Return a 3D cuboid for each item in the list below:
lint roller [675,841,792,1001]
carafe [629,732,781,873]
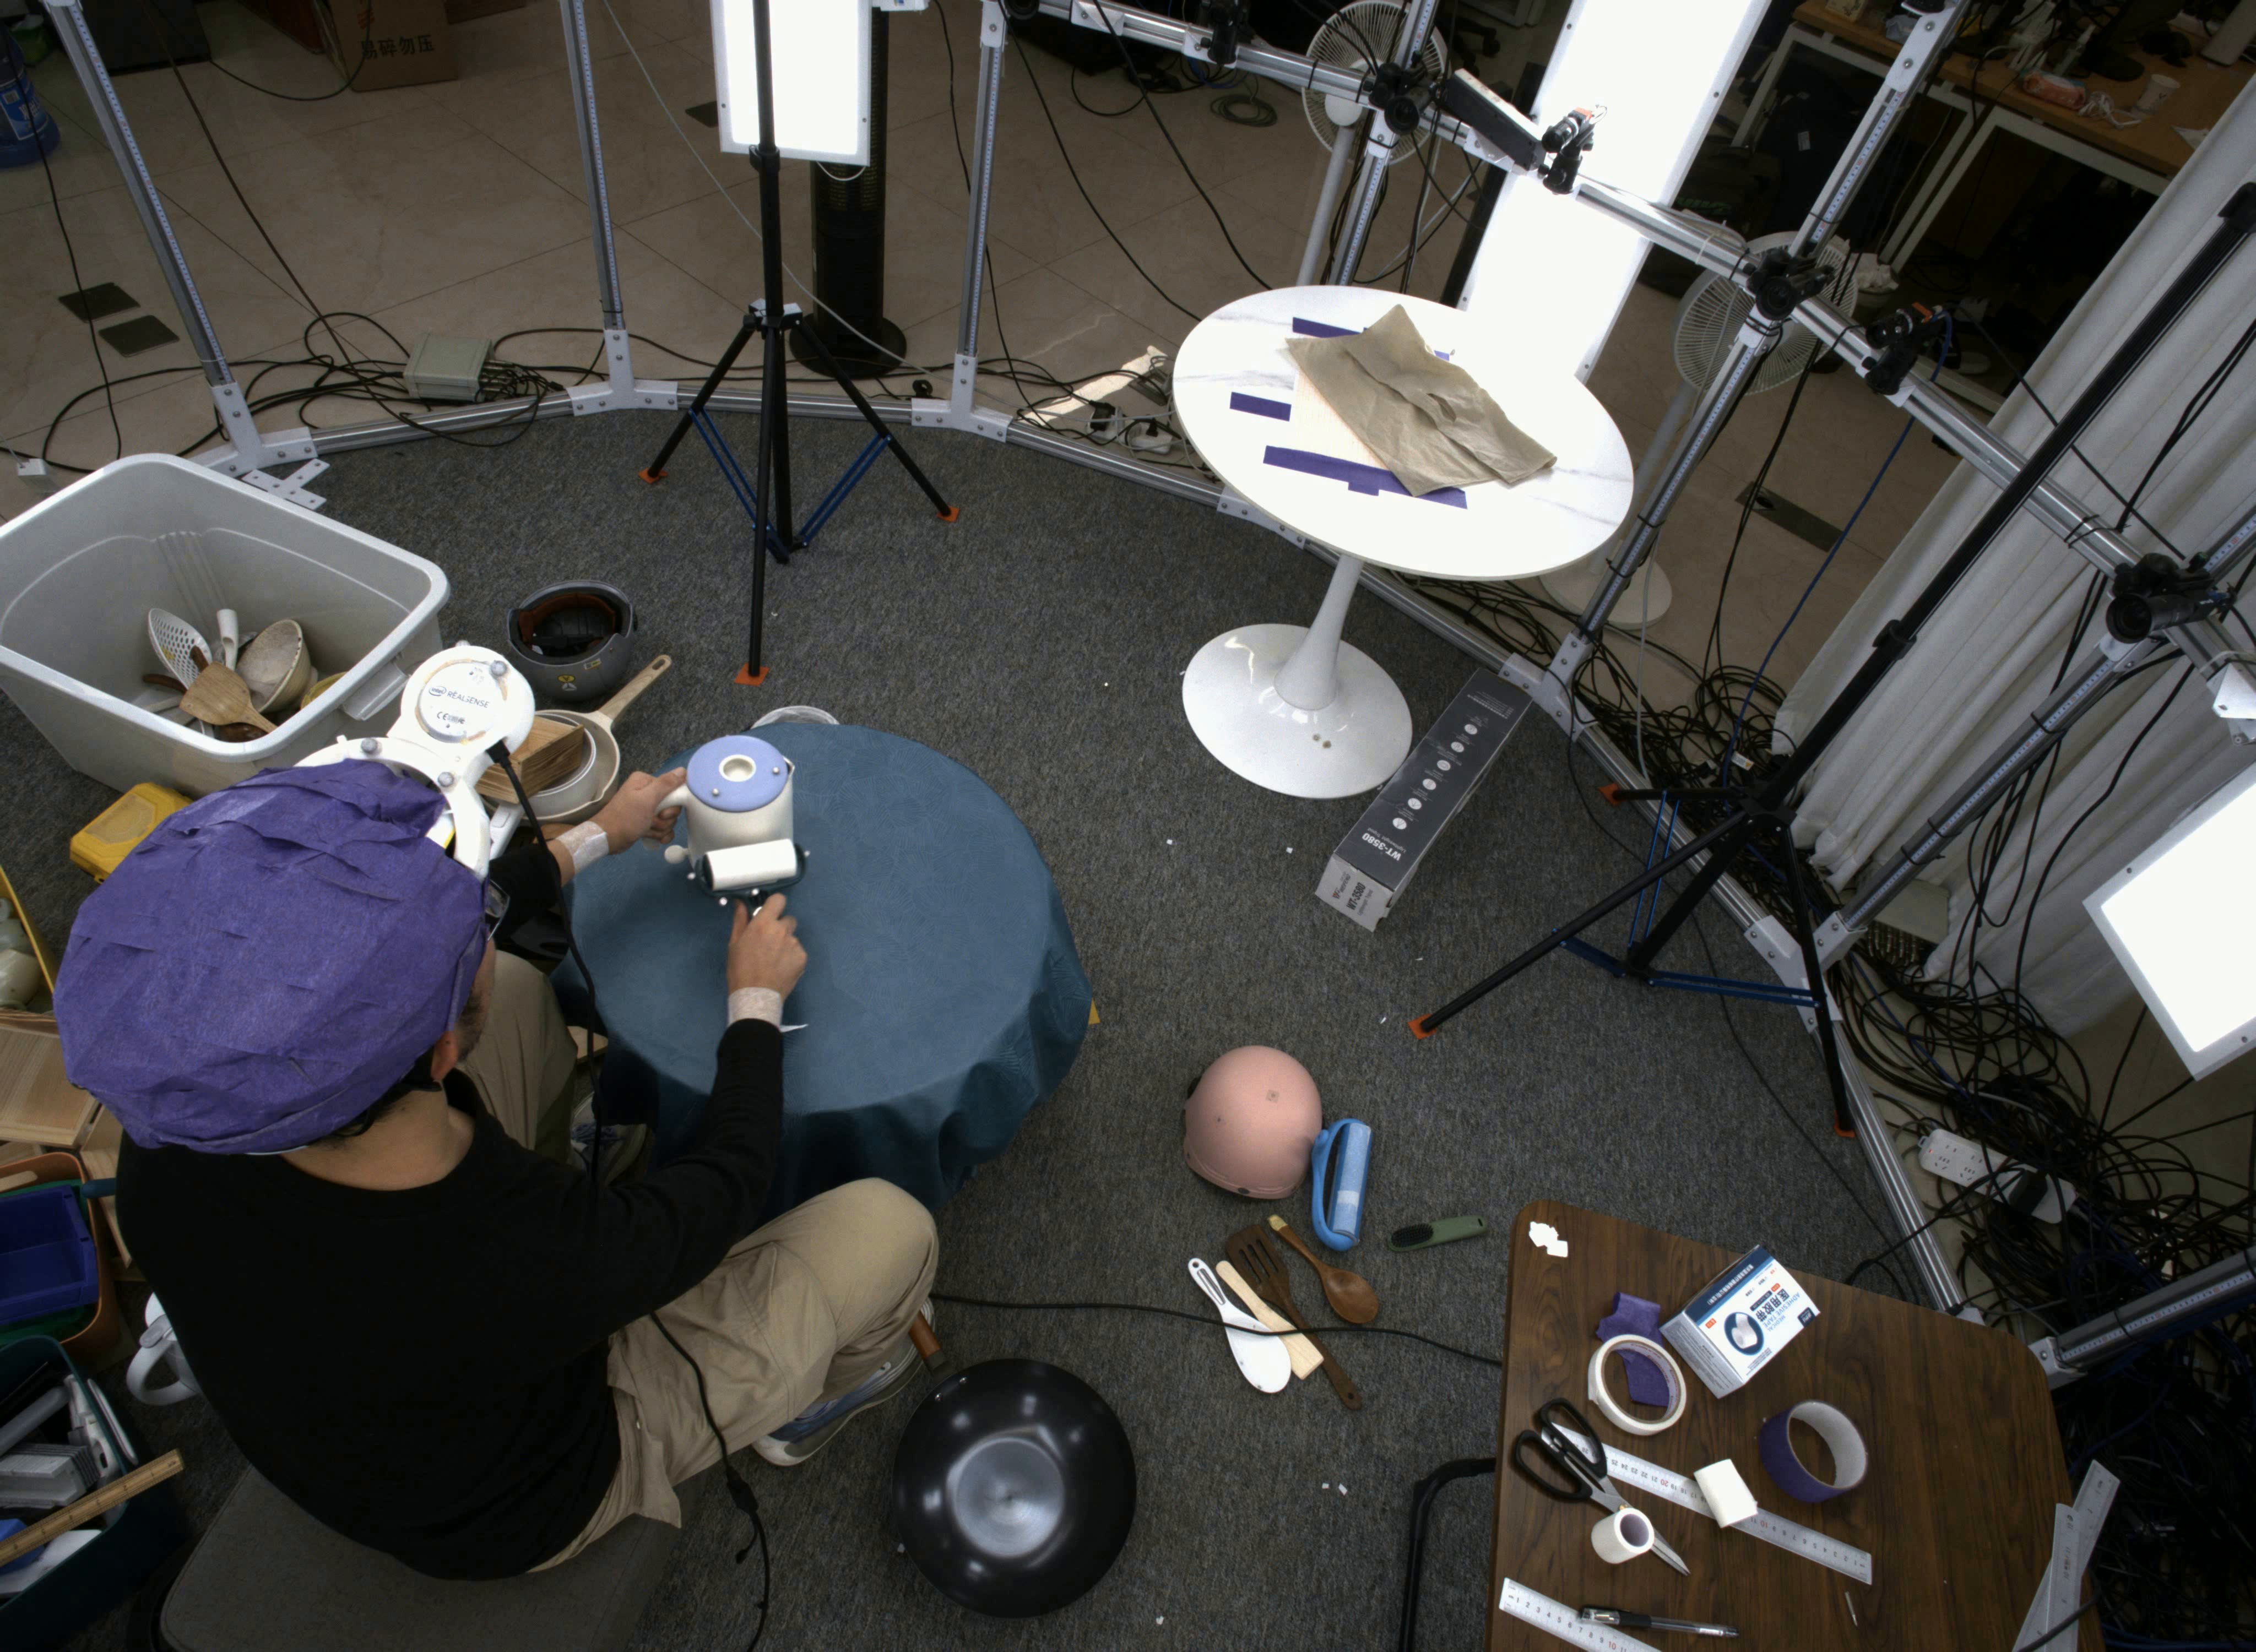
[{"bbox_3d":[-0.446,0.111,1.519,0.135,0.048,0.180,-12,80,-30],"label":"lint roller"},{"bbox_3d":[-0.520,-0.009,1.586,0.192,0.186,0.129,-15,57,-23],"label":"carafe"}]
